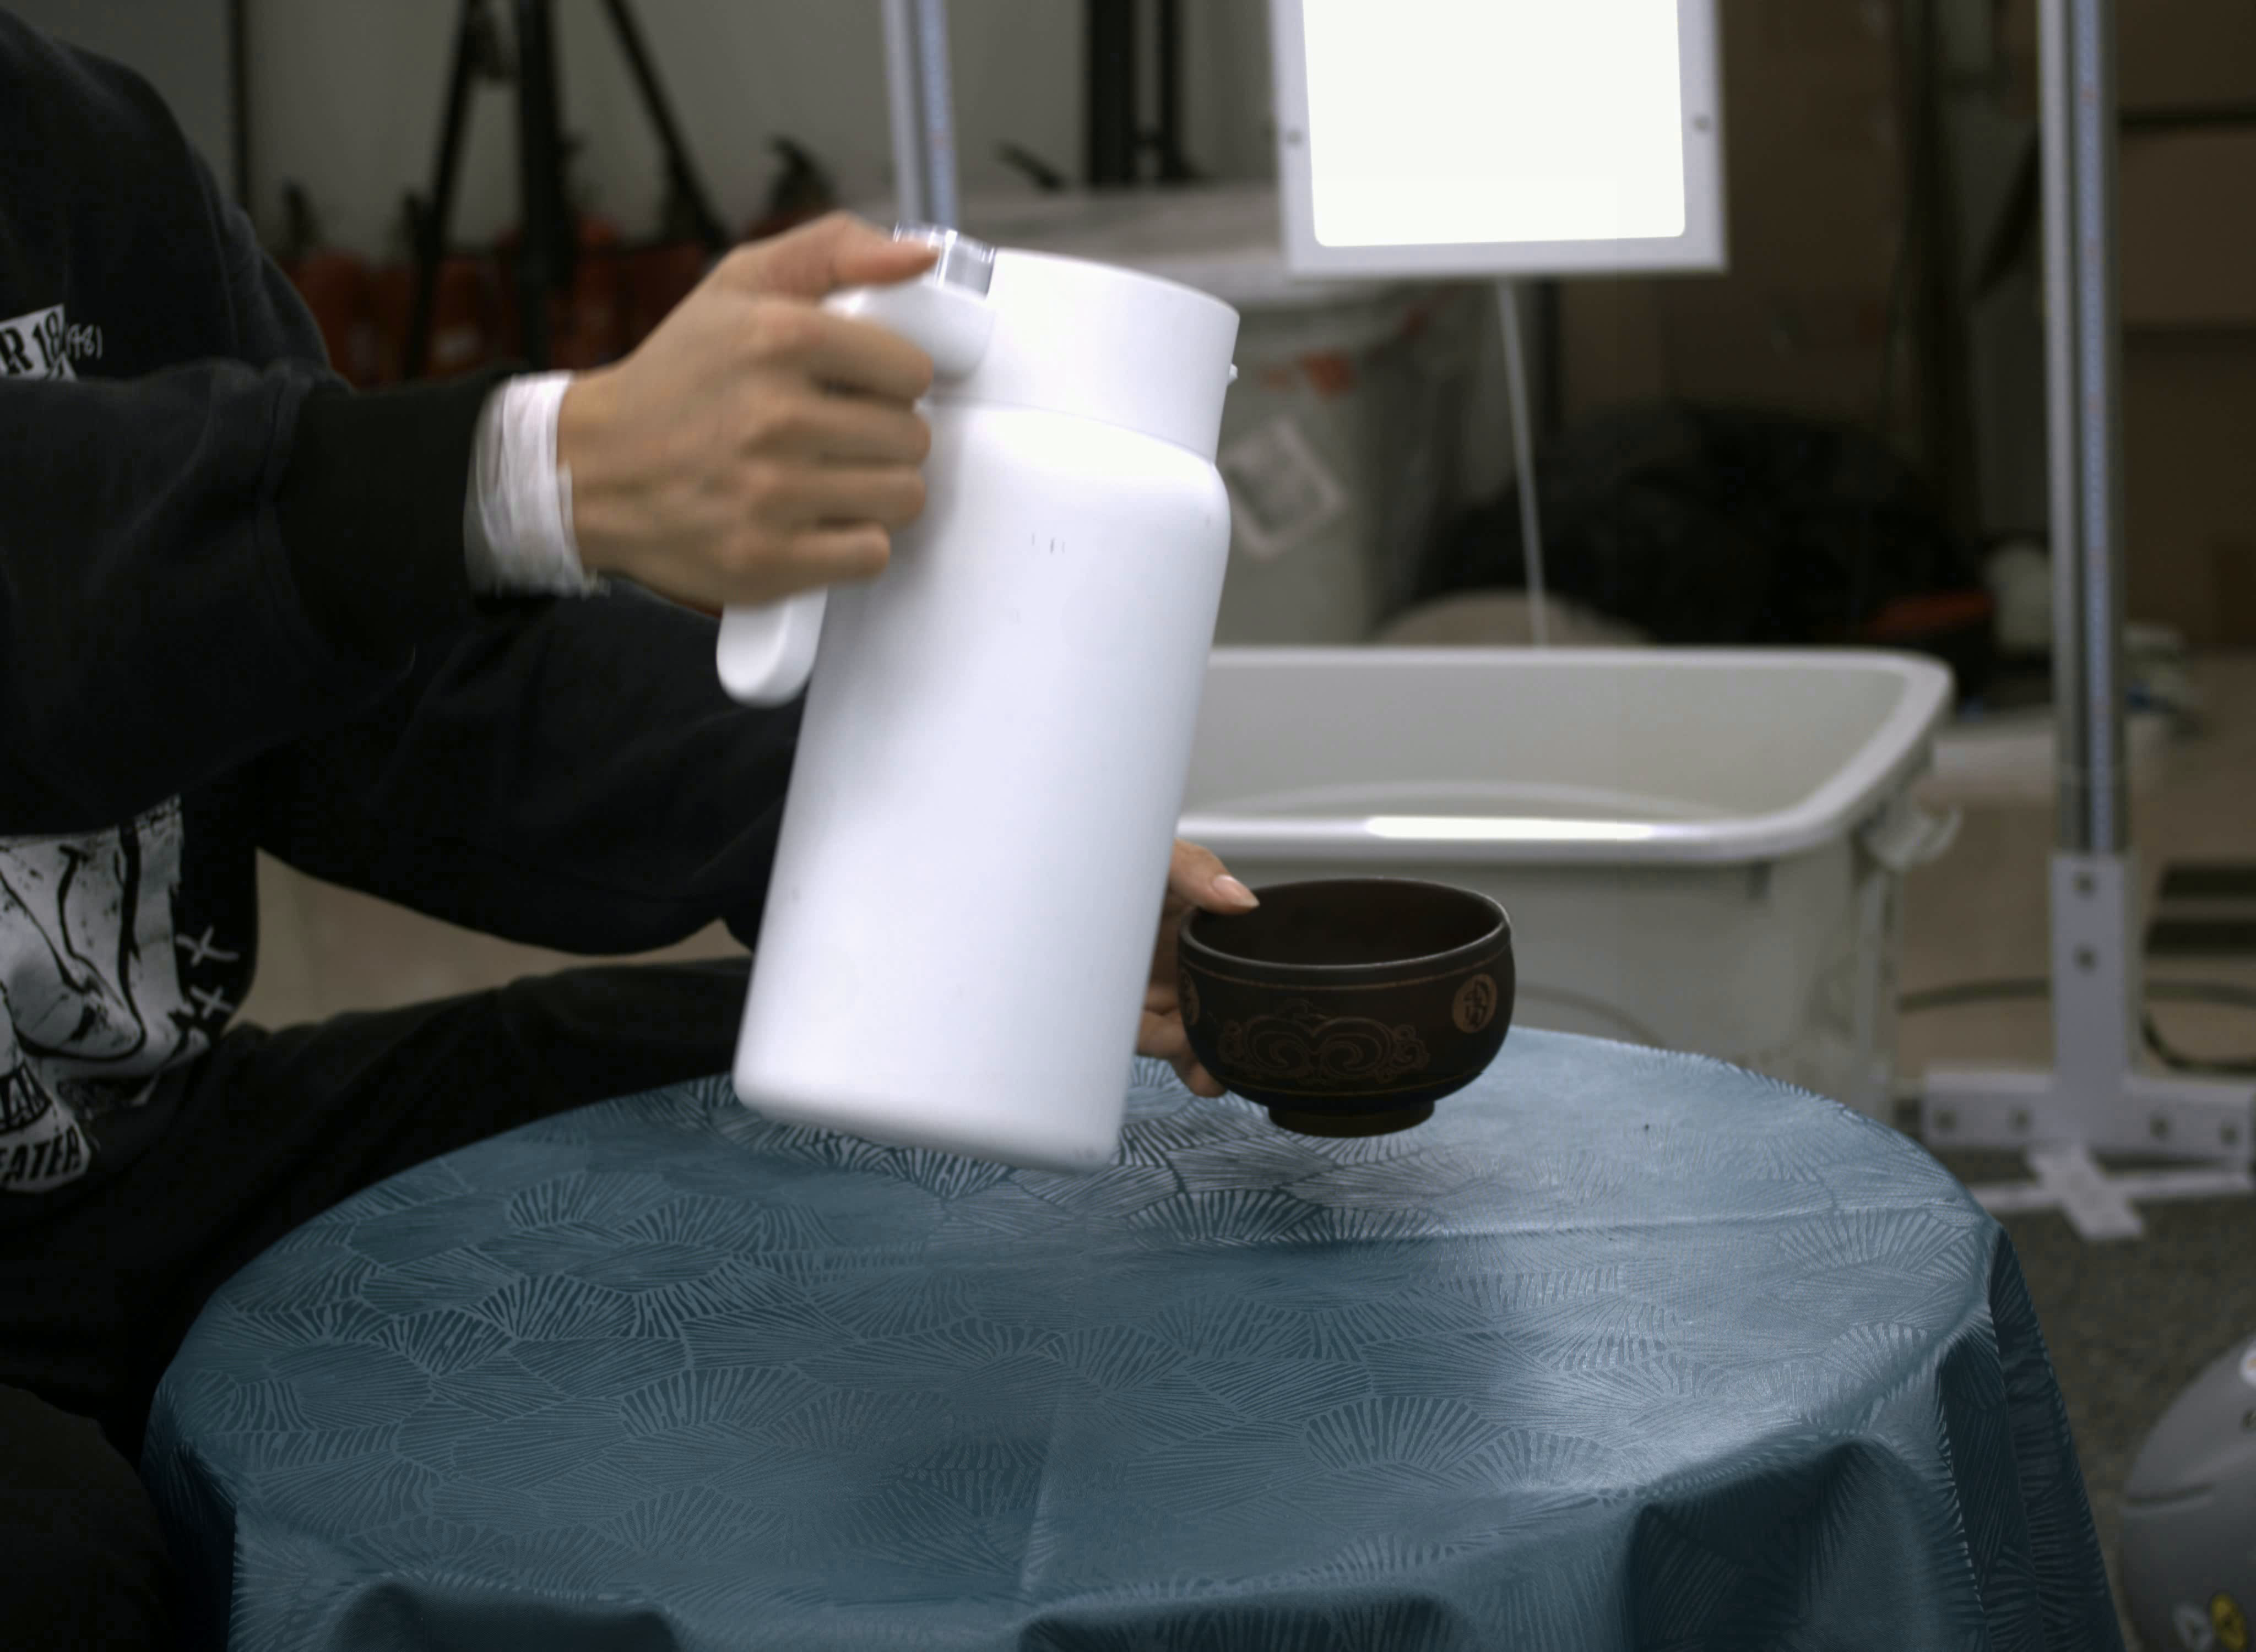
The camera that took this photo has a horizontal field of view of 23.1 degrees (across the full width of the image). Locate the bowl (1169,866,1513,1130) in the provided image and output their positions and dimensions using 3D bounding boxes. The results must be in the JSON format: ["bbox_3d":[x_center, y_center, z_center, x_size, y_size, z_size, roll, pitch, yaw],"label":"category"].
[{"bbox_3d":[0.073,0.062,1.872,0.118,0.070,0.118,-4,15,0],"label":"bowl"}]

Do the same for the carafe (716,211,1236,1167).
[{"bbox_3d":[-0.051,-0.041,1.641,0.126,0.269,0.169,9,-5,45],"label":"carafe"}]
